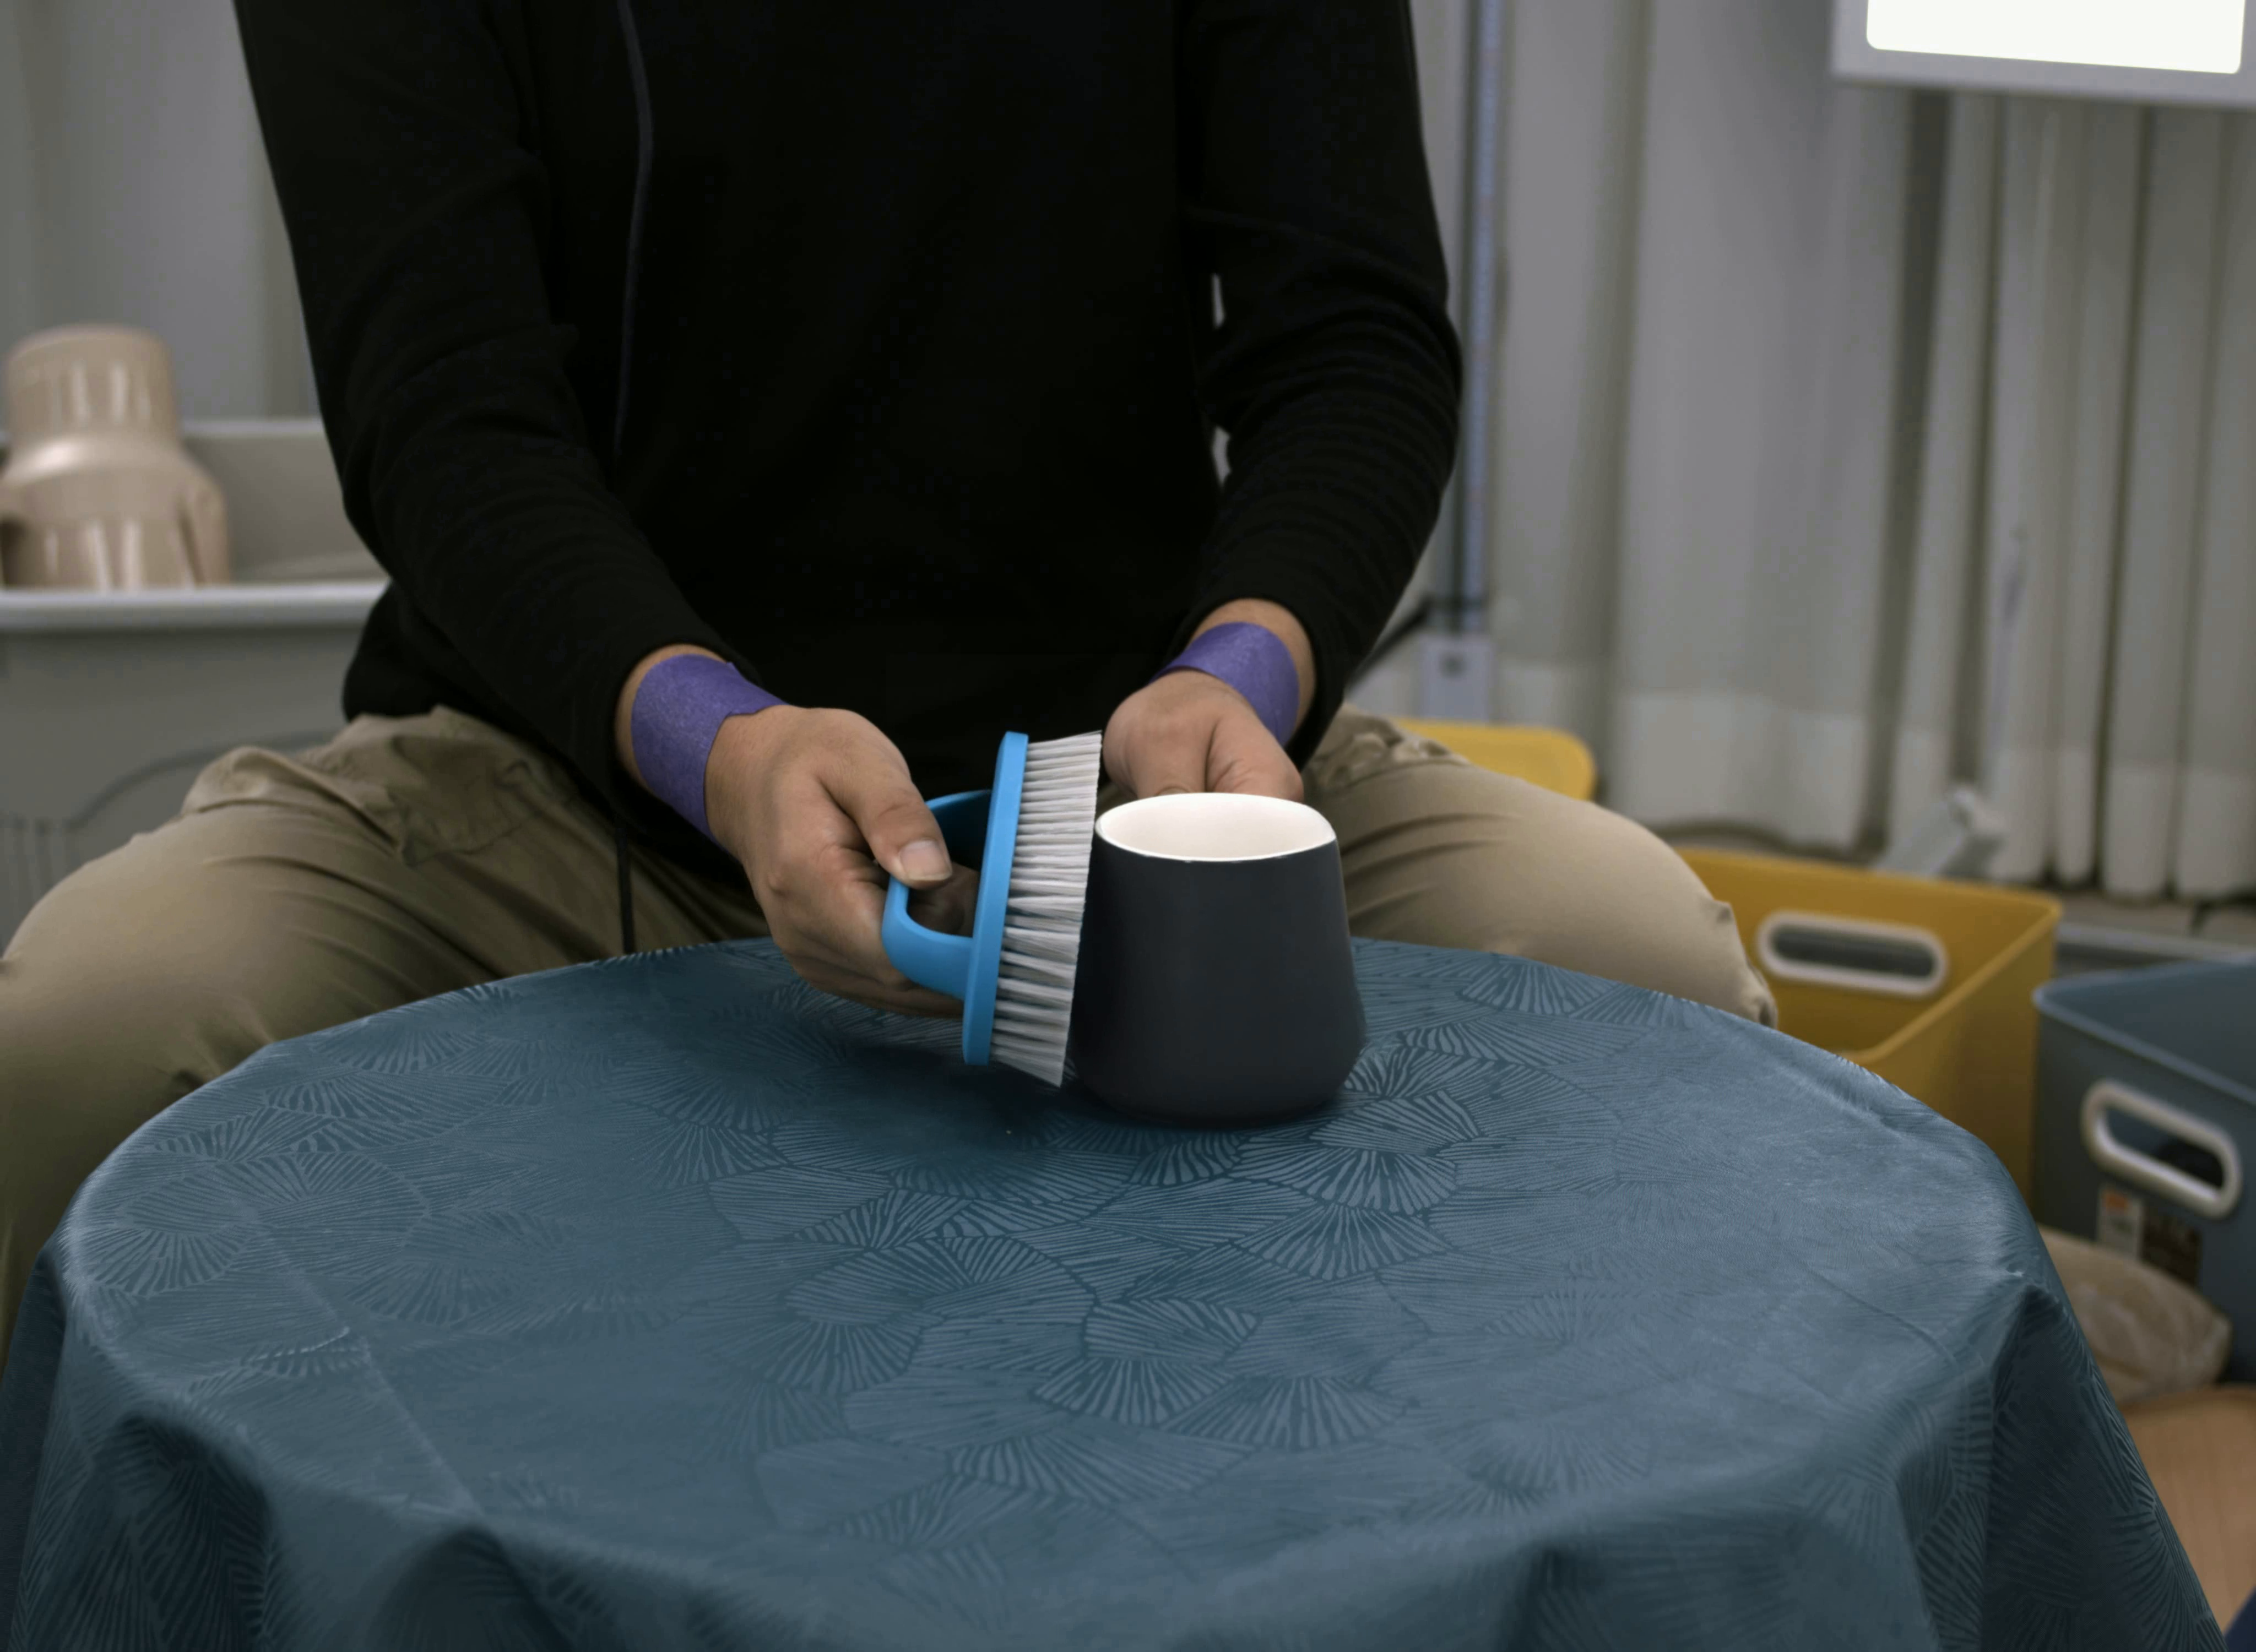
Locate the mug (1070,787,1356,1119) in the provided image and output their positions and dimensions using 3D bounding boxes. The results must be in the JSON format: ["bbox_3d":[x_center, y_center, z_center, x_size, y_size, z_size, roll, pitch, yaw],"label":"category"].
[{"bbox_3d":[0.026,0.037,1.718,0.093,0.090,0.122,-1,18,-7],"label":"mug"}]

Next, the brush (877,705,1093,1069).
[{"bbox_3d":[-0.047,0.019,1.696,0.063,0.085,0.140,4,36,2],"label":"brush"}]
